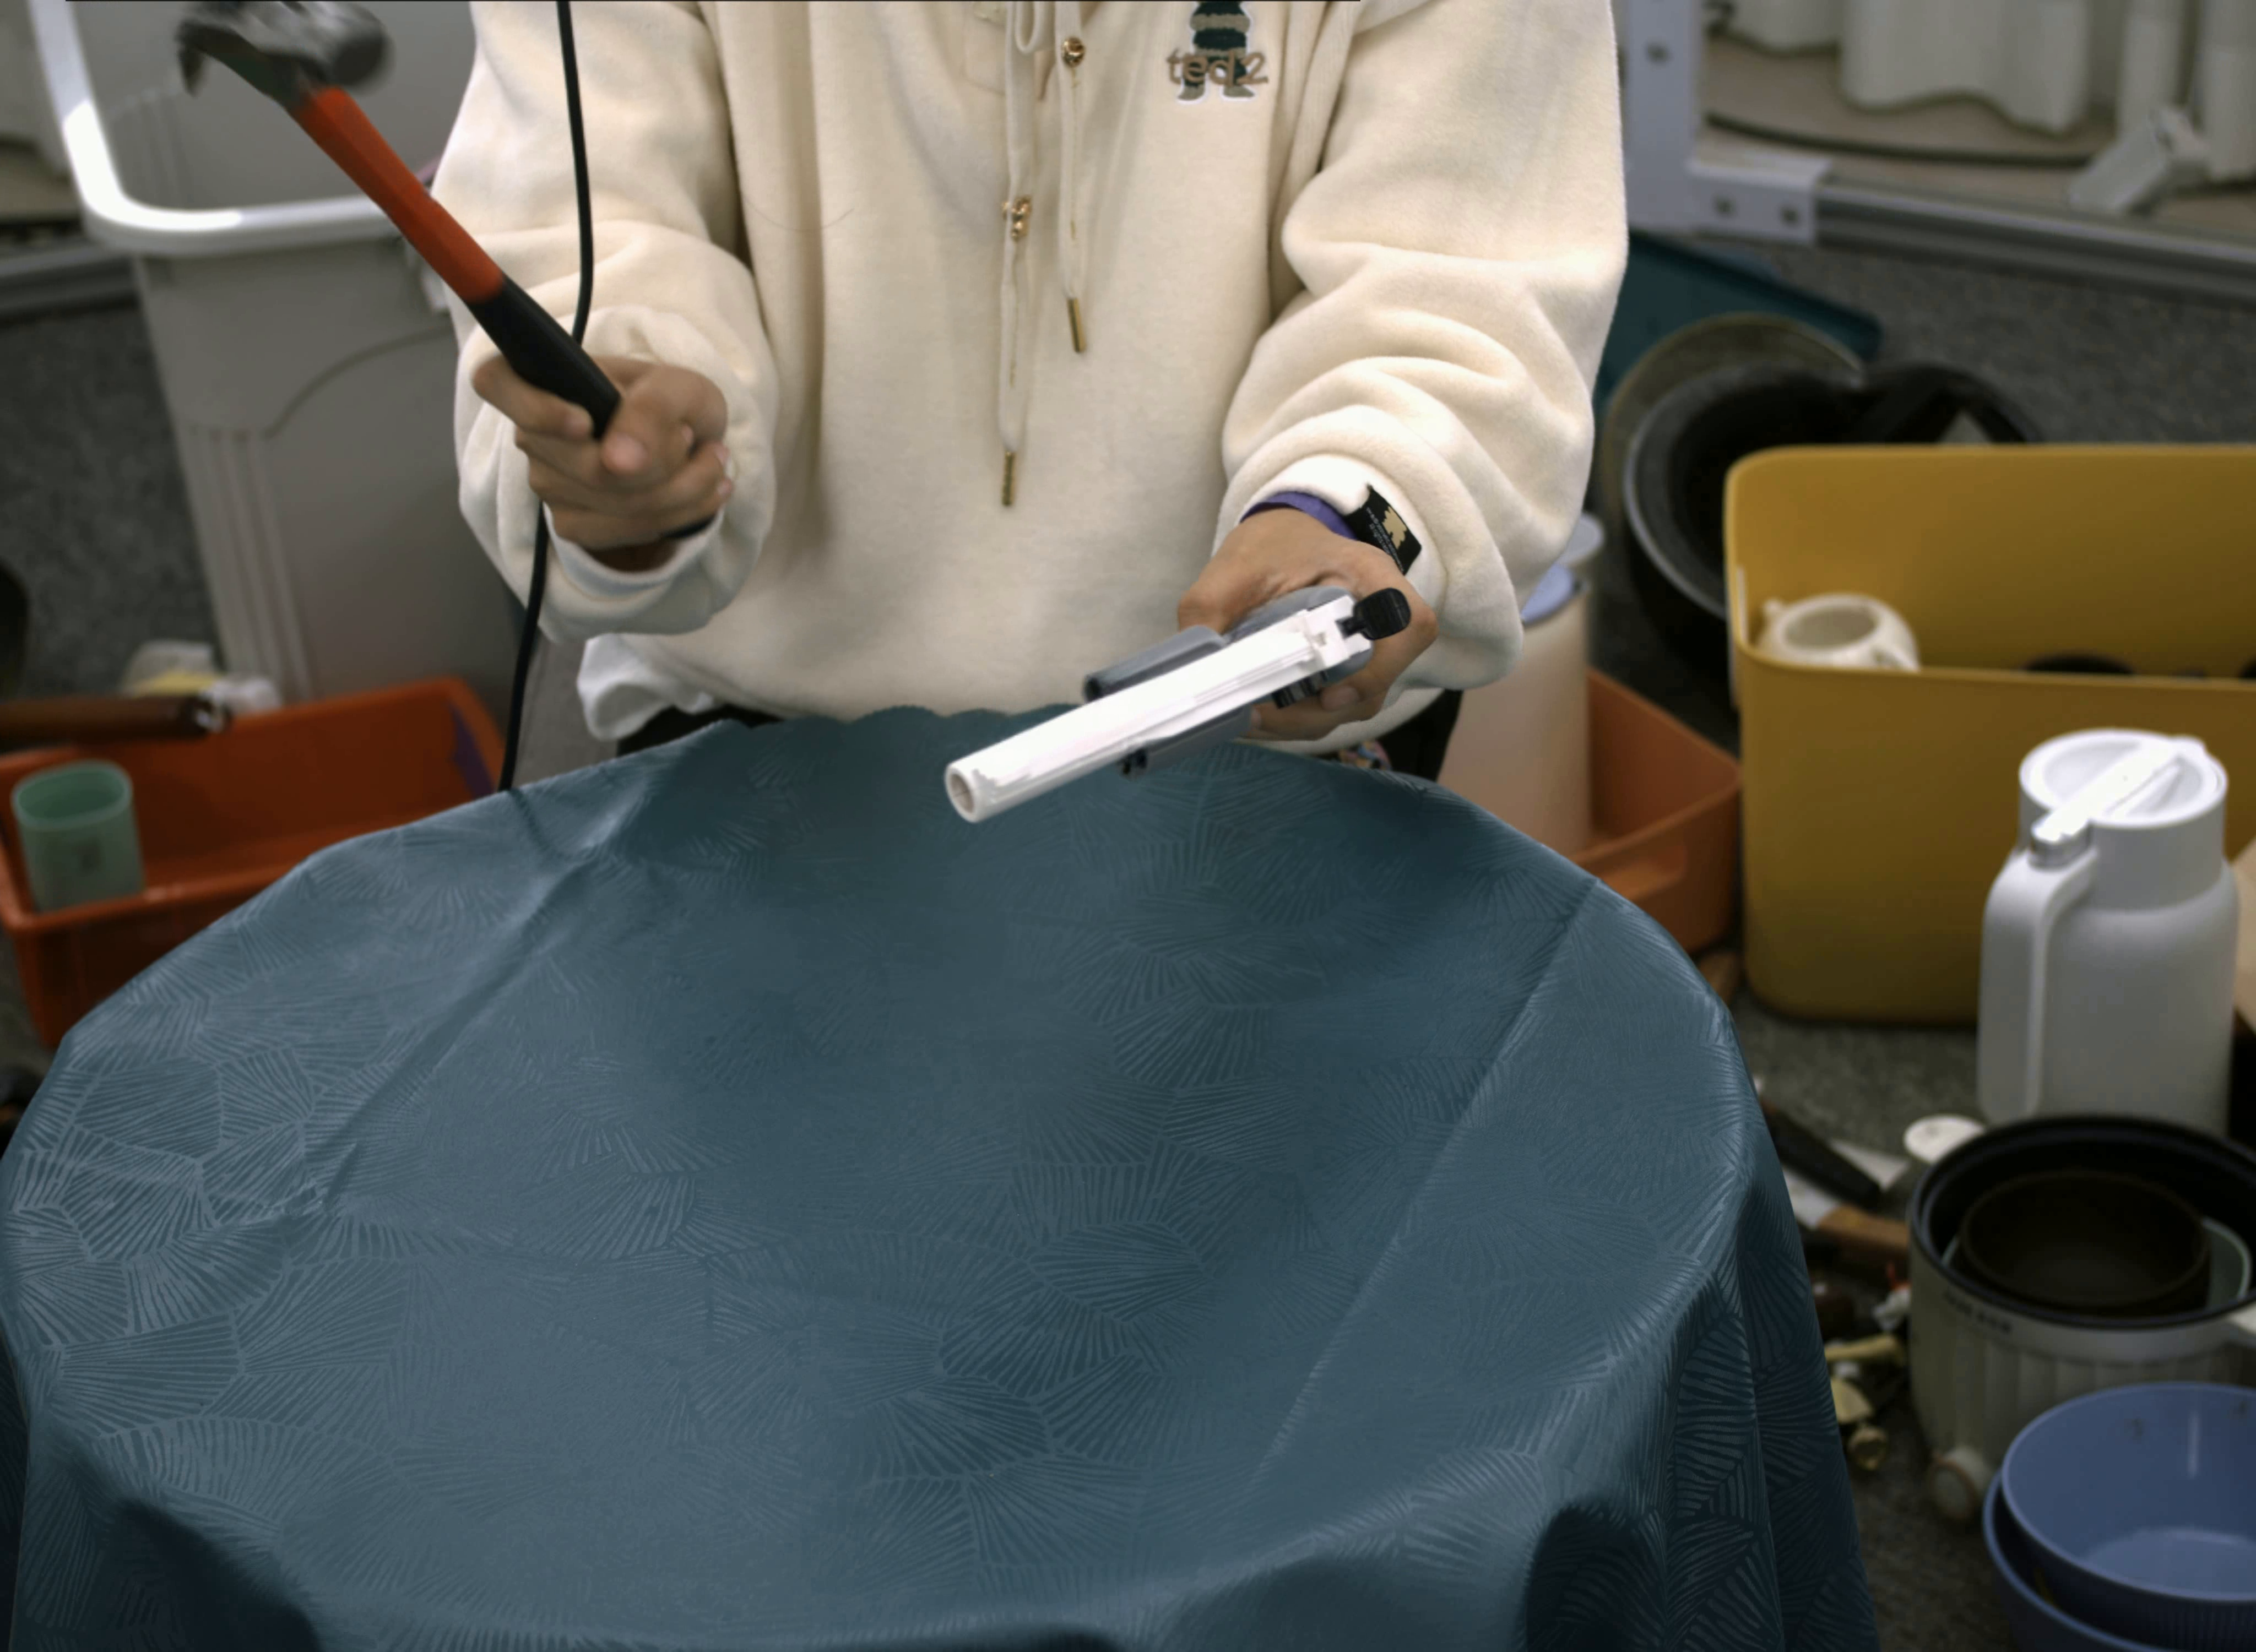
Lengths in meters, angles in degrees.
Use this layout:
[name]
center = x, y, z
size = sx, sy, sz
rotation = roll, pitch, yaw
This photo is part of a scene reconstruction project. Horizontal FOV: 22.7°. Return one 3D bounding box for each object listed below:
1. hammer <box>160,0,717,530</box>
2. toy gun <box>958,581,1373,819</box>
[hammer]
center = -0.224, -0.193, 1.889
size = 0.110, 0.275, 0.027
rotation = 3, 55, 40
[toy gun]
center = 0.013, -0.042, 1.823
size = 0.211, 0.039, 0.140
rotation = -23, 5, -30
